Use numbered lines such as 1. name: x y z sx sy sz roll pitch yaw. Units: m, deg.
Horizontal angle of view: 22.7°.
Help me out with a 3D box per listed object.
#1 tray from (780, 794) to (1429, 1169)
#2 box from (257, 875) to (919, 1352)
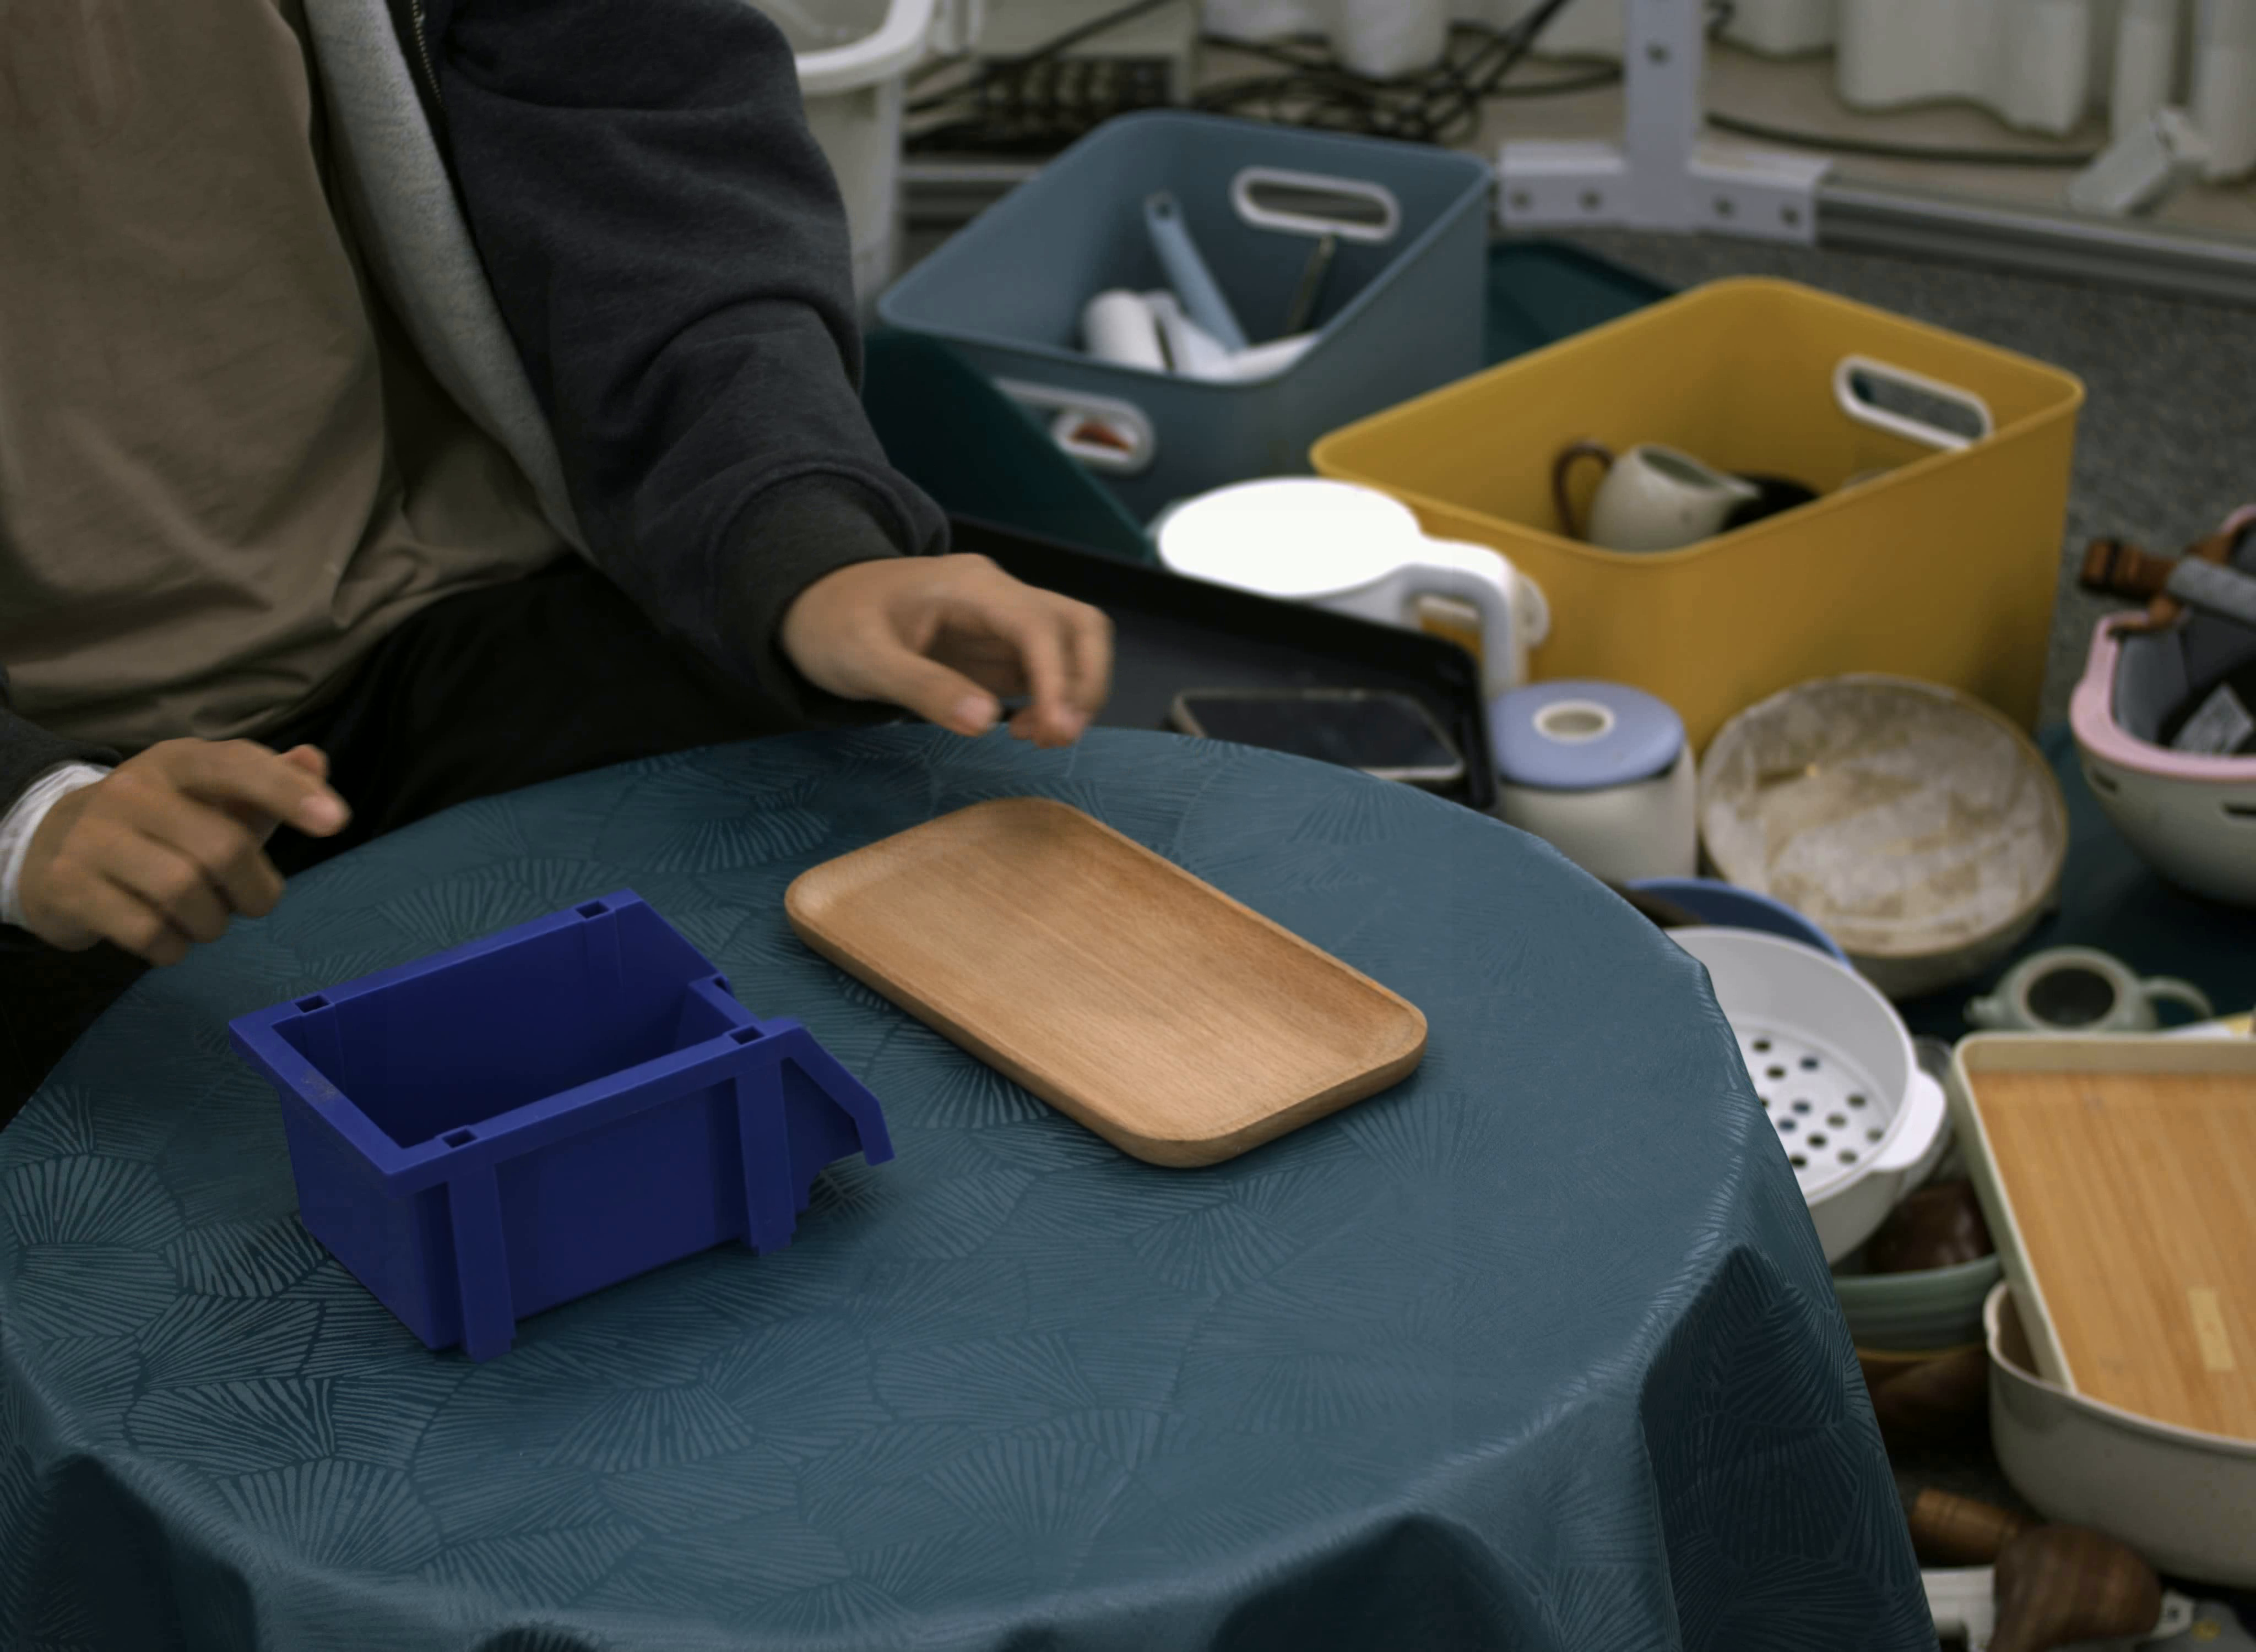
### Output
1. tray: -0.011 0.052 1.977 0.131 0.022 0.251 -18 31 -32
2. box: -0.177 0.090 1.852 0.180 0.081 0.125 -21 32 -25
